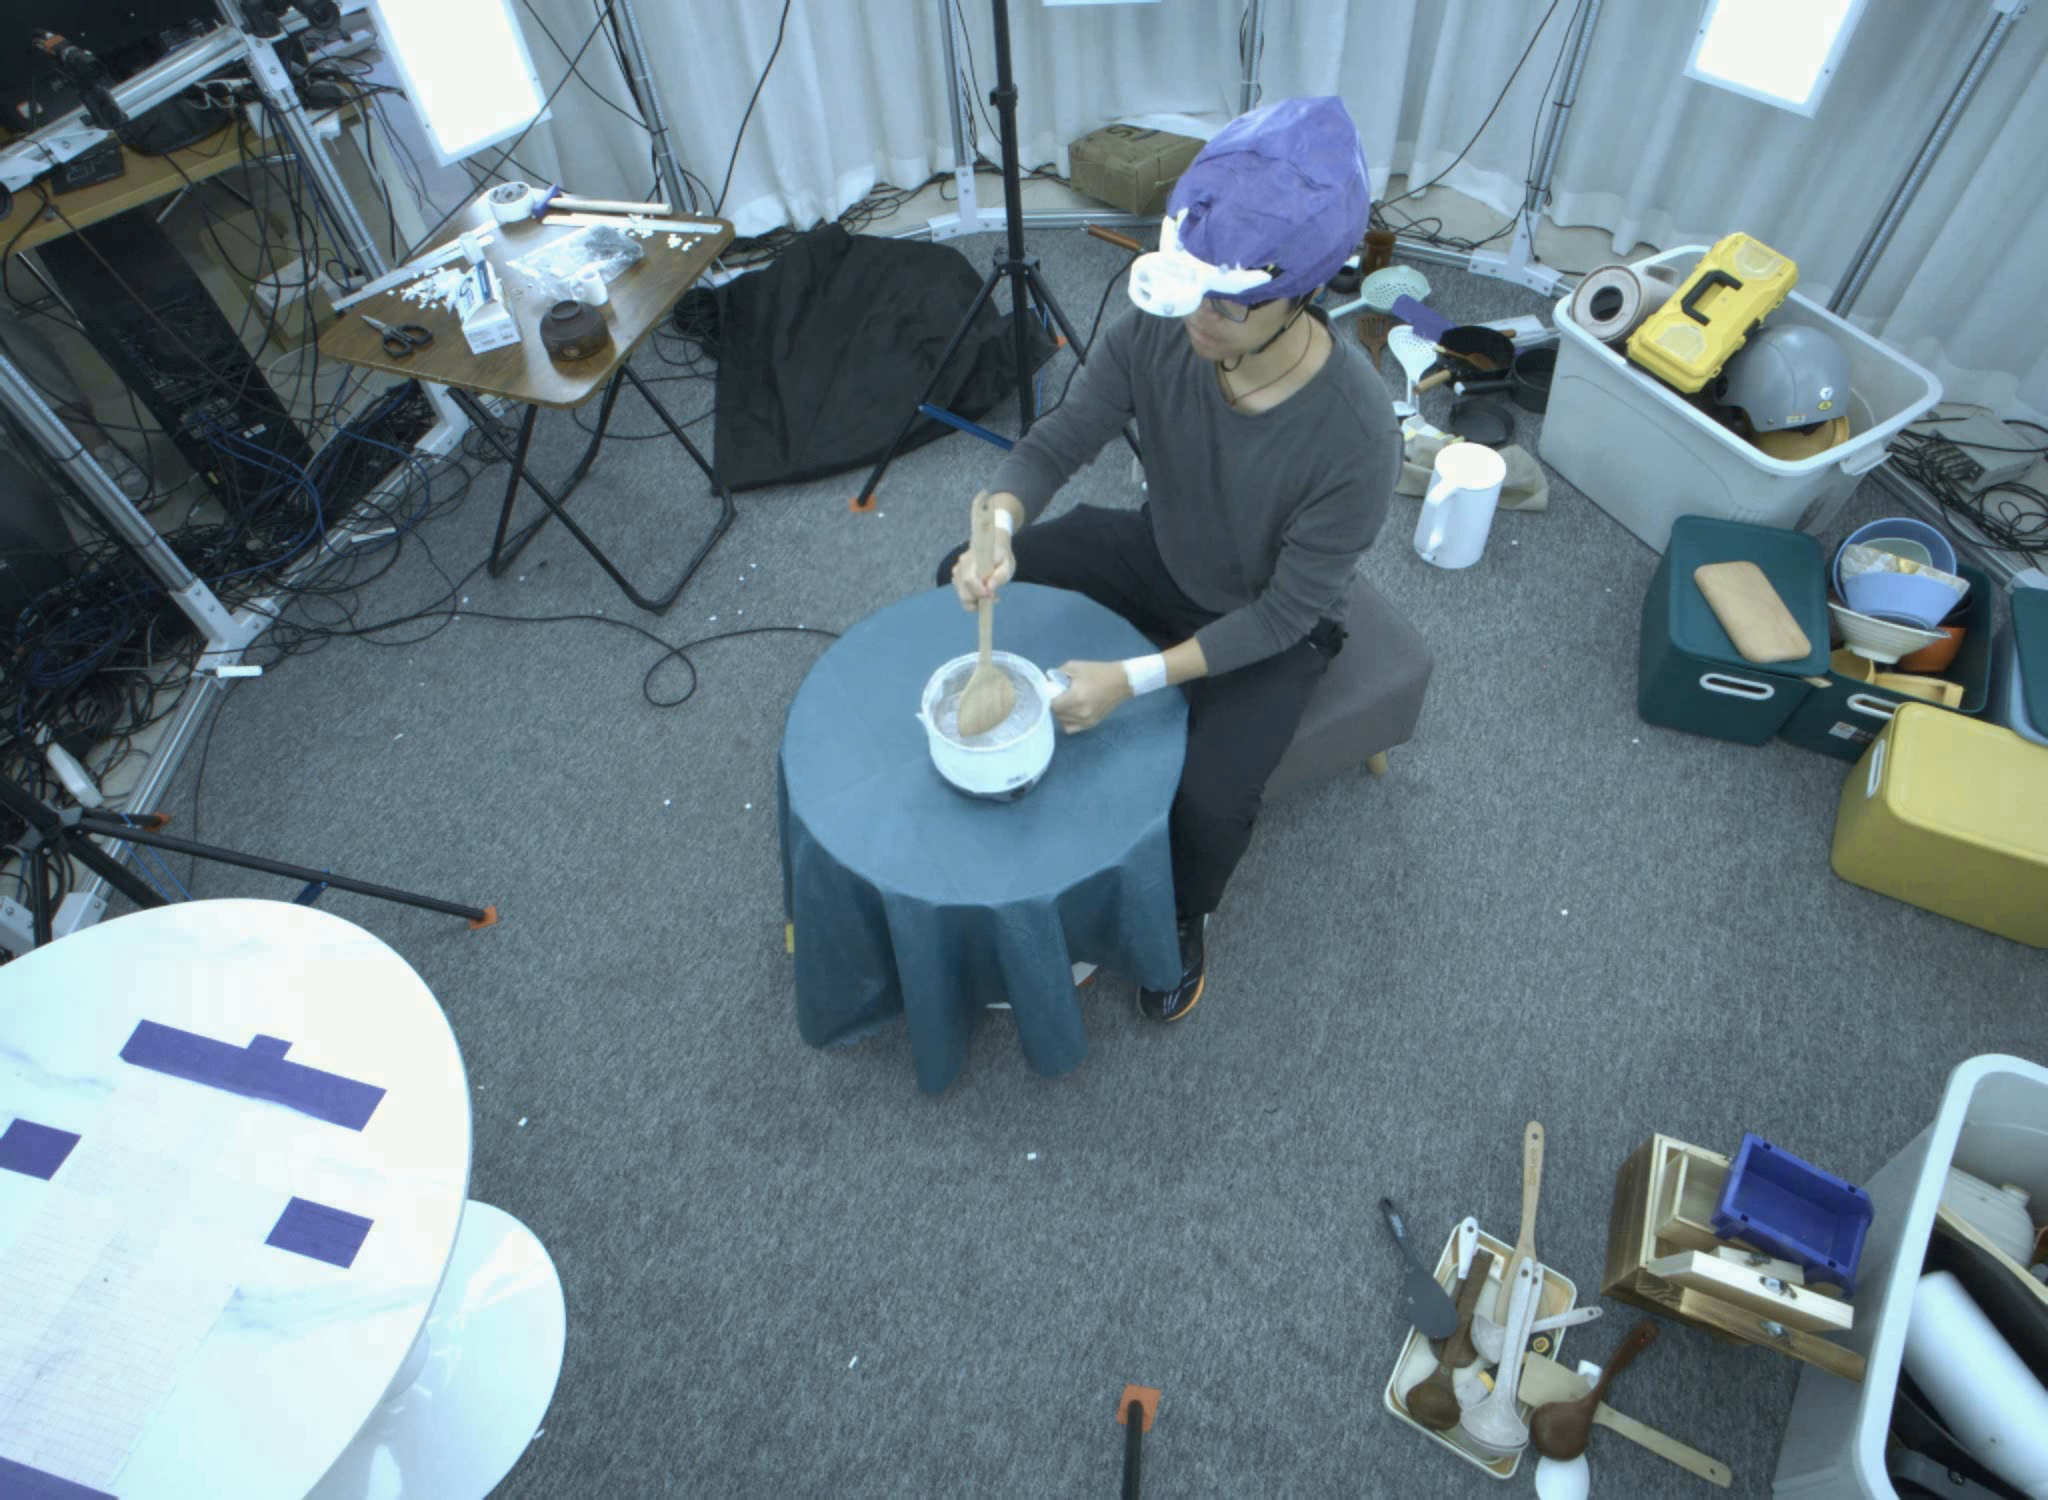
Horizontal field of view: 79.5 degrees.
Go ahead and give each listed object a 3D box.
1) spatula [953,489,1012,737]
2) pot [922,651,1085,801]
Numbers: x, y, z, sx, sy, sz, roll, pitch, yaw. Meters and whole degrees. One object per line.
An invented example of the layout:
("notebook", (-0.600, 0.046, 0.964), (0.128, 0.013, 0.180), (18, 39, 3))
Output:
("spatula", (-0.055, -0.165, 1.559), (0.097, 0.394, 0.018), (-30, 55, -26))
("pot", (-0.024, -0.043, 1.742), (0.235, 0.138, 0.175), (-23, 57, -14))
